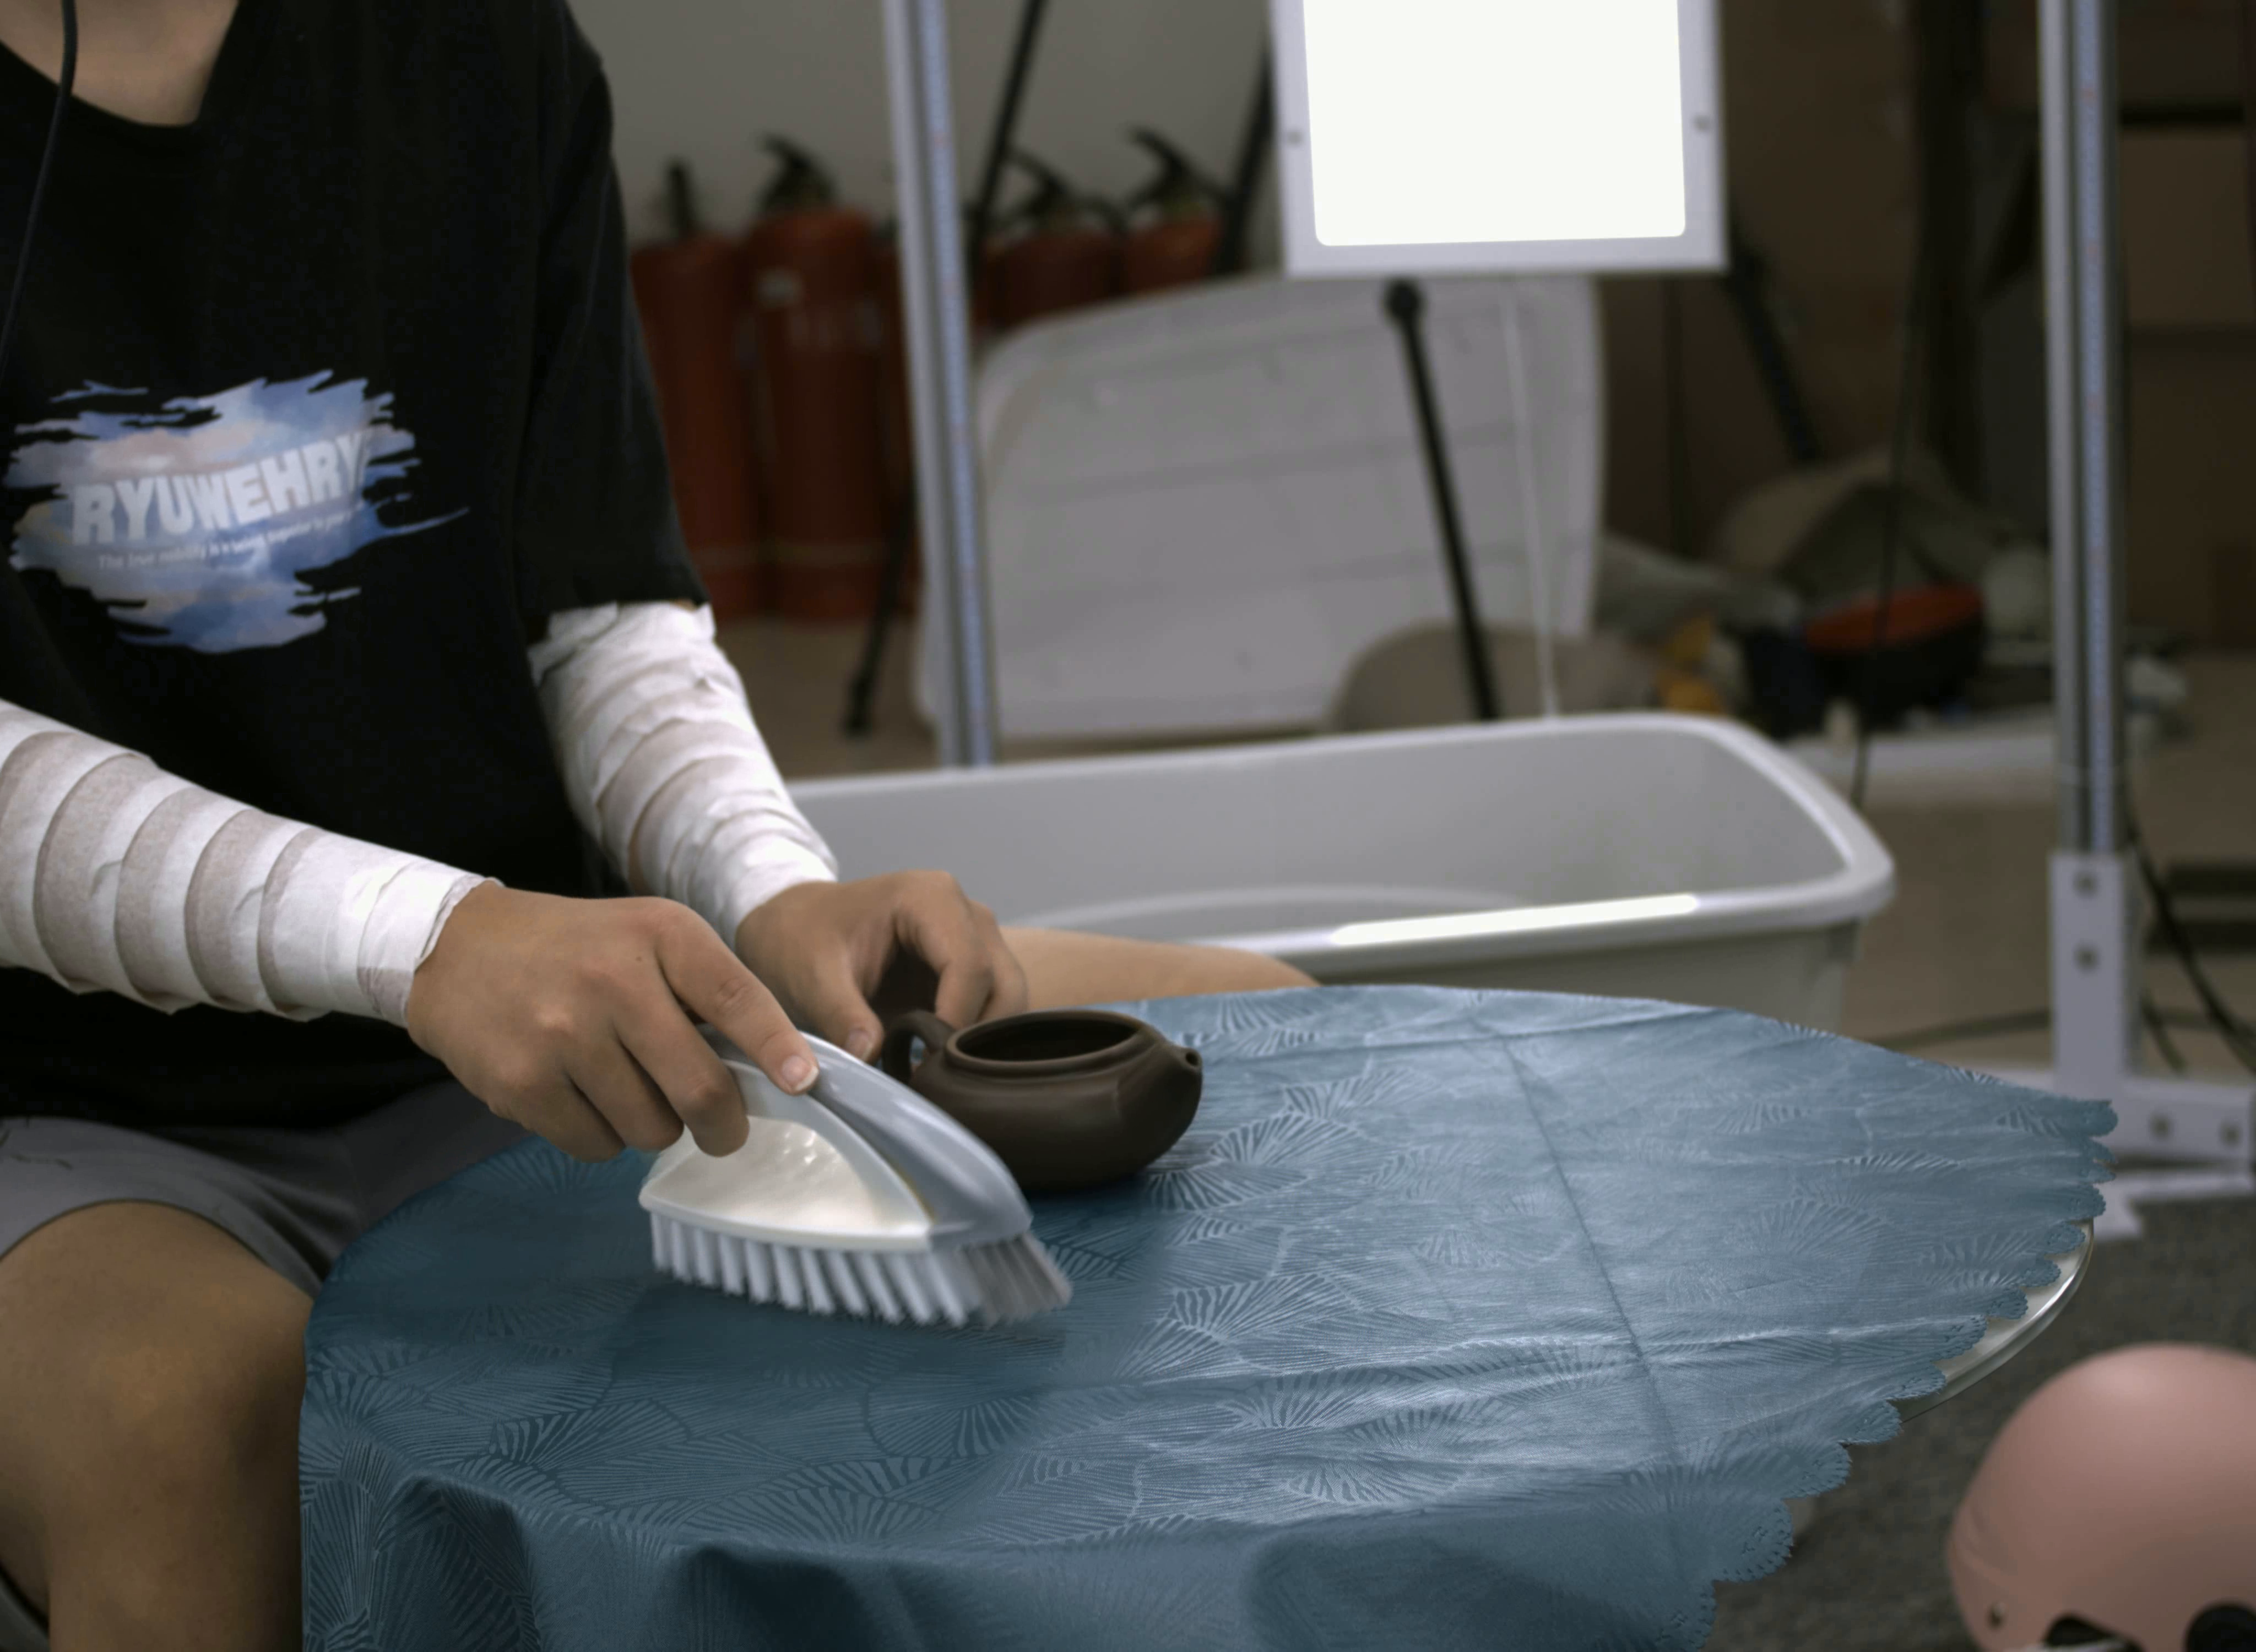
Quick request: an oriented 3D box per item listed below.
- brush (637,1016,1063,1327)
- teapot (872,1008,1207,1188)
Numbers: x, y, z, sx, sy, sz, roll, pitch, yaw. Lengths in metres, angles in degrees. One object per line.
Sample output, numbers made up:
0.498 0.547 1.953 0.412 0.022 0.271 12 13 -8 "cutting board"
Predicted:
-0.095 0.108 1.787 0.179 0.094 0.060 13 43 45 "brush"
-0.031 0.093 1.932 0.157 0.054 0.100 6 16 39 "teapot"
